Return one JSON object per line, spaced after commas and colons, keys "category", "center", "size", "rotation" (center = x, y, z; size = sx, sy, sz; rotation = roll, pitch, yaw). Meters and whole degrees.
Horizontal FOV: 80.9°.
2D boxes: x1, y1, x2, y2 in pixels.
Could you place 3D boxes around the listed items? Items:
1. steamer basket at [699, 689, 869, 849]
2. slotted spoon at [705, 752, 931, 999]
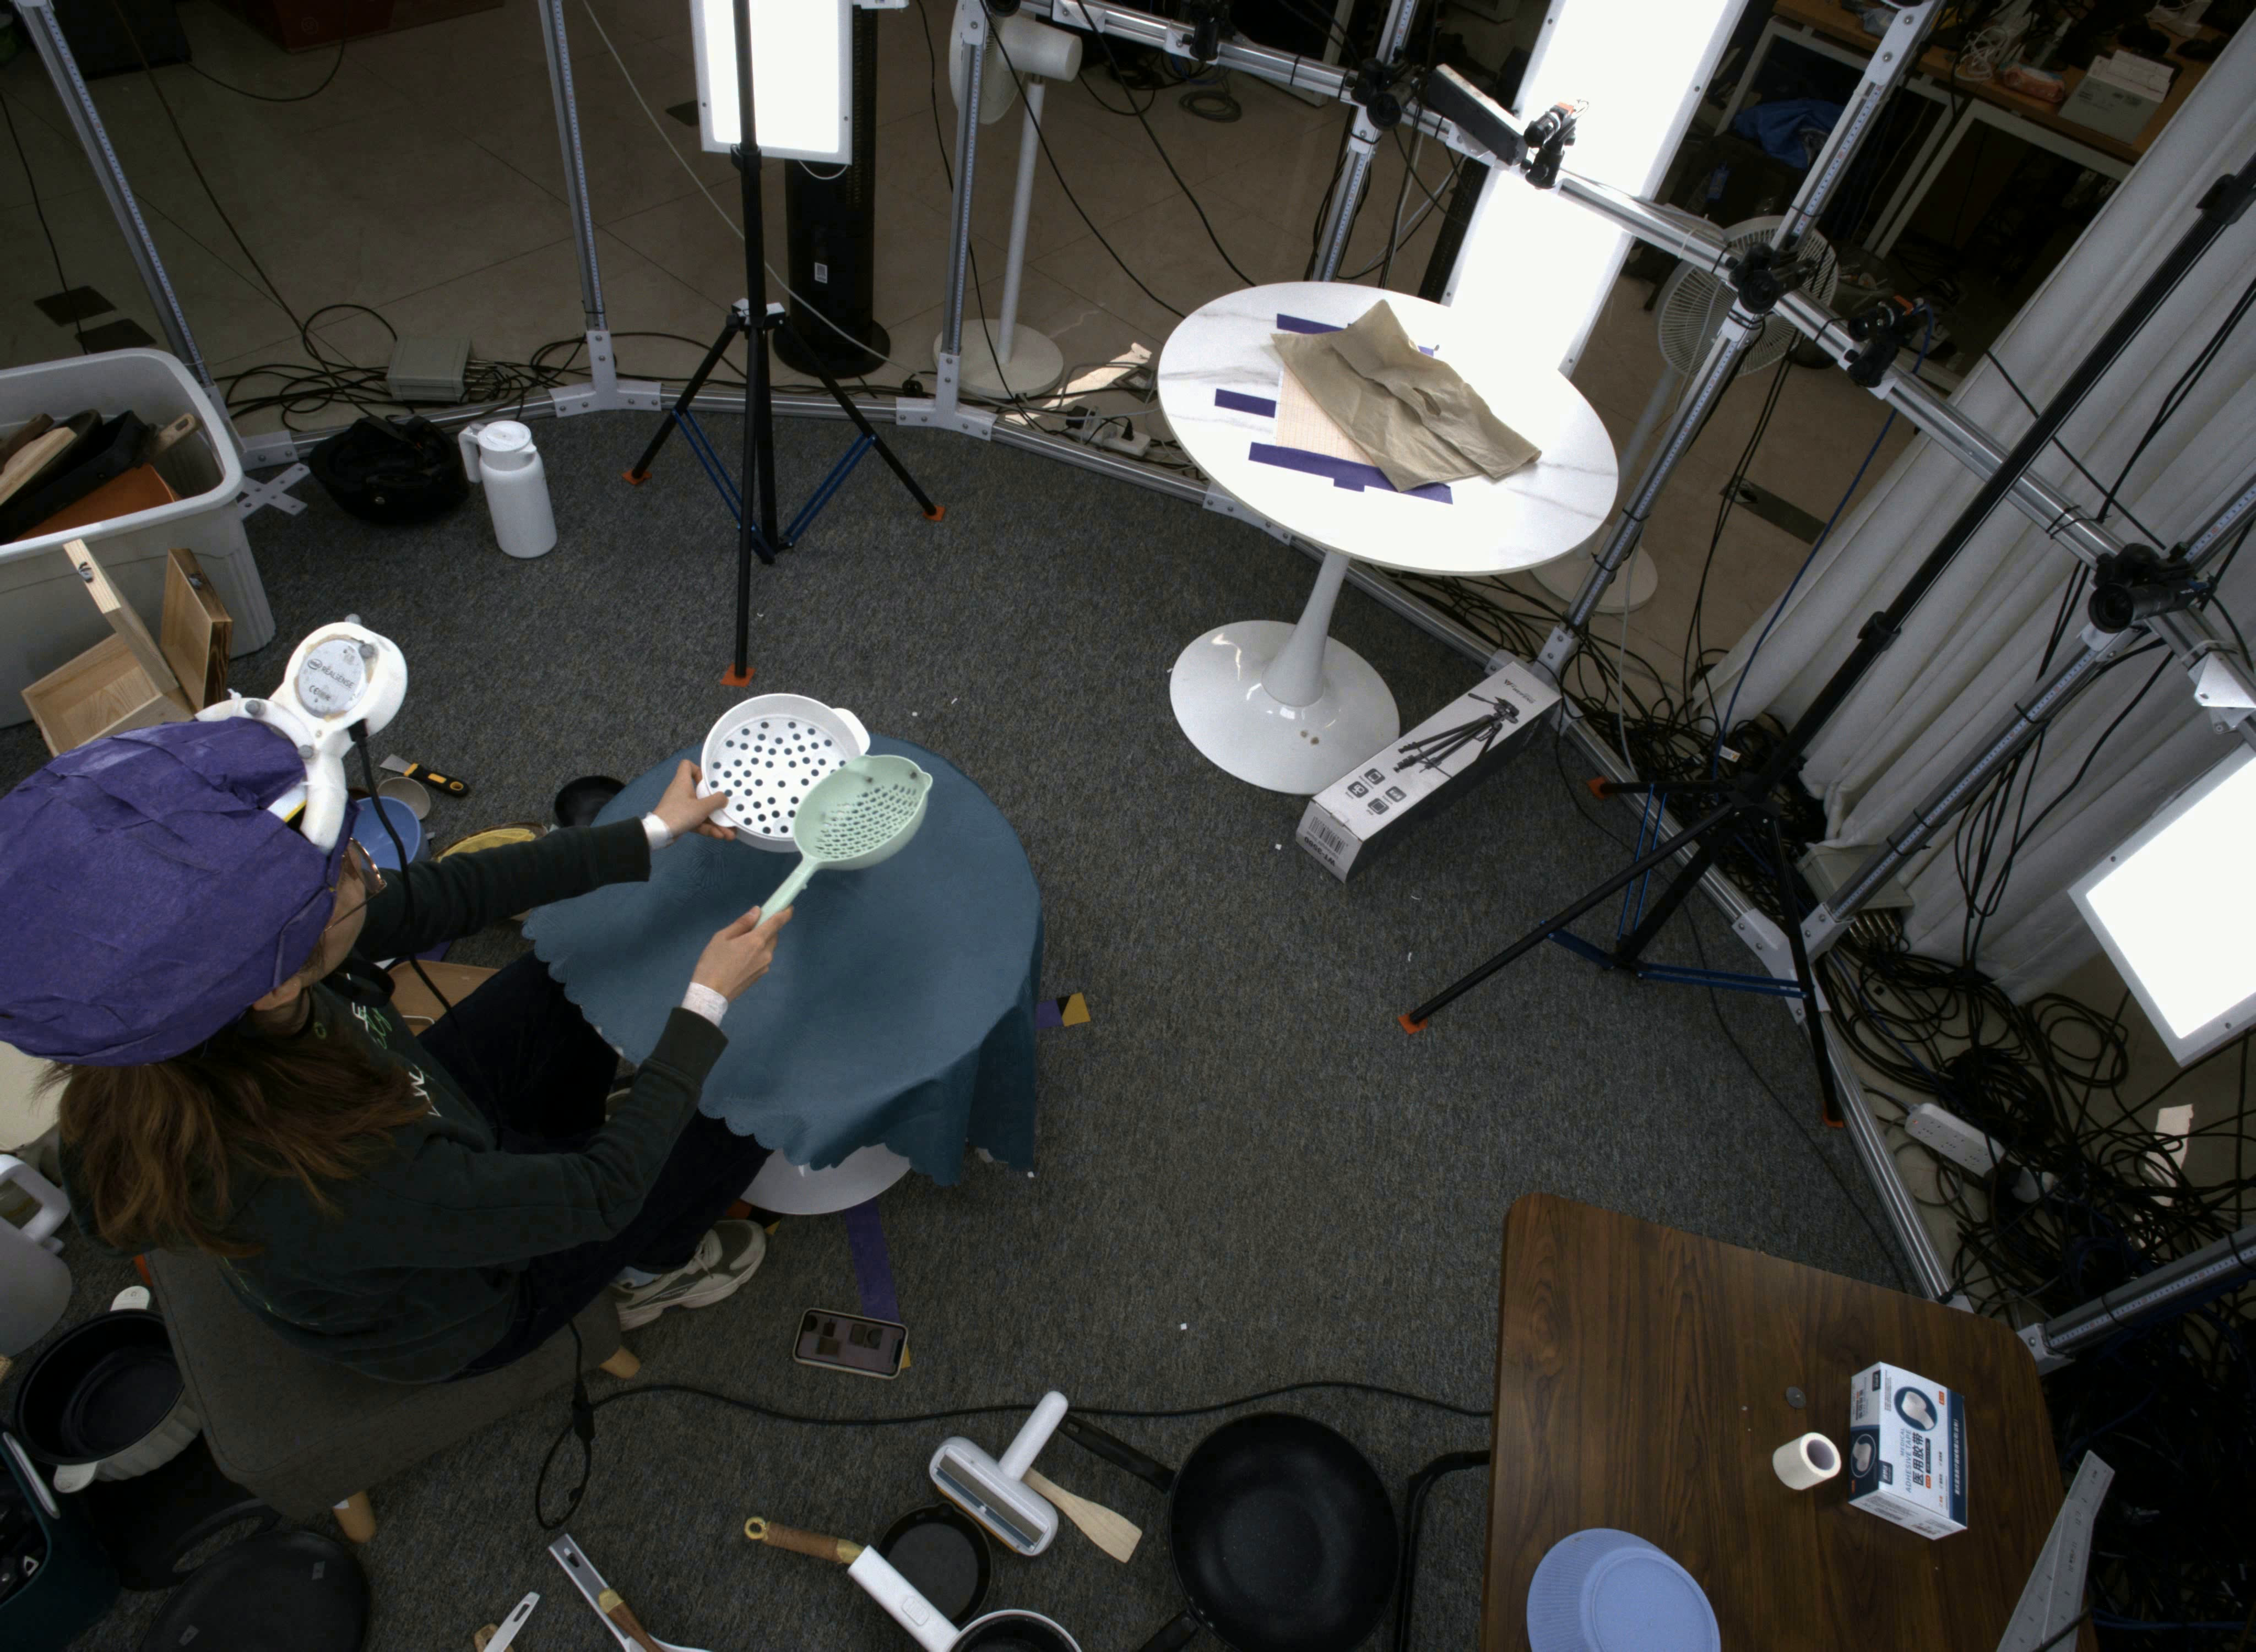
{"category": "steamer basket", "center": [-0.434, -0.071, 1.642], "size": [0.231, 0.069, 0.200], "rotation": [-37, 83, -29]}
{"category": "slotted spoon", "center": [-0.366, 0.050, 1.489], "size": [0.163, 0.078, 0.358], "rotation": [16, 47, 34]}
